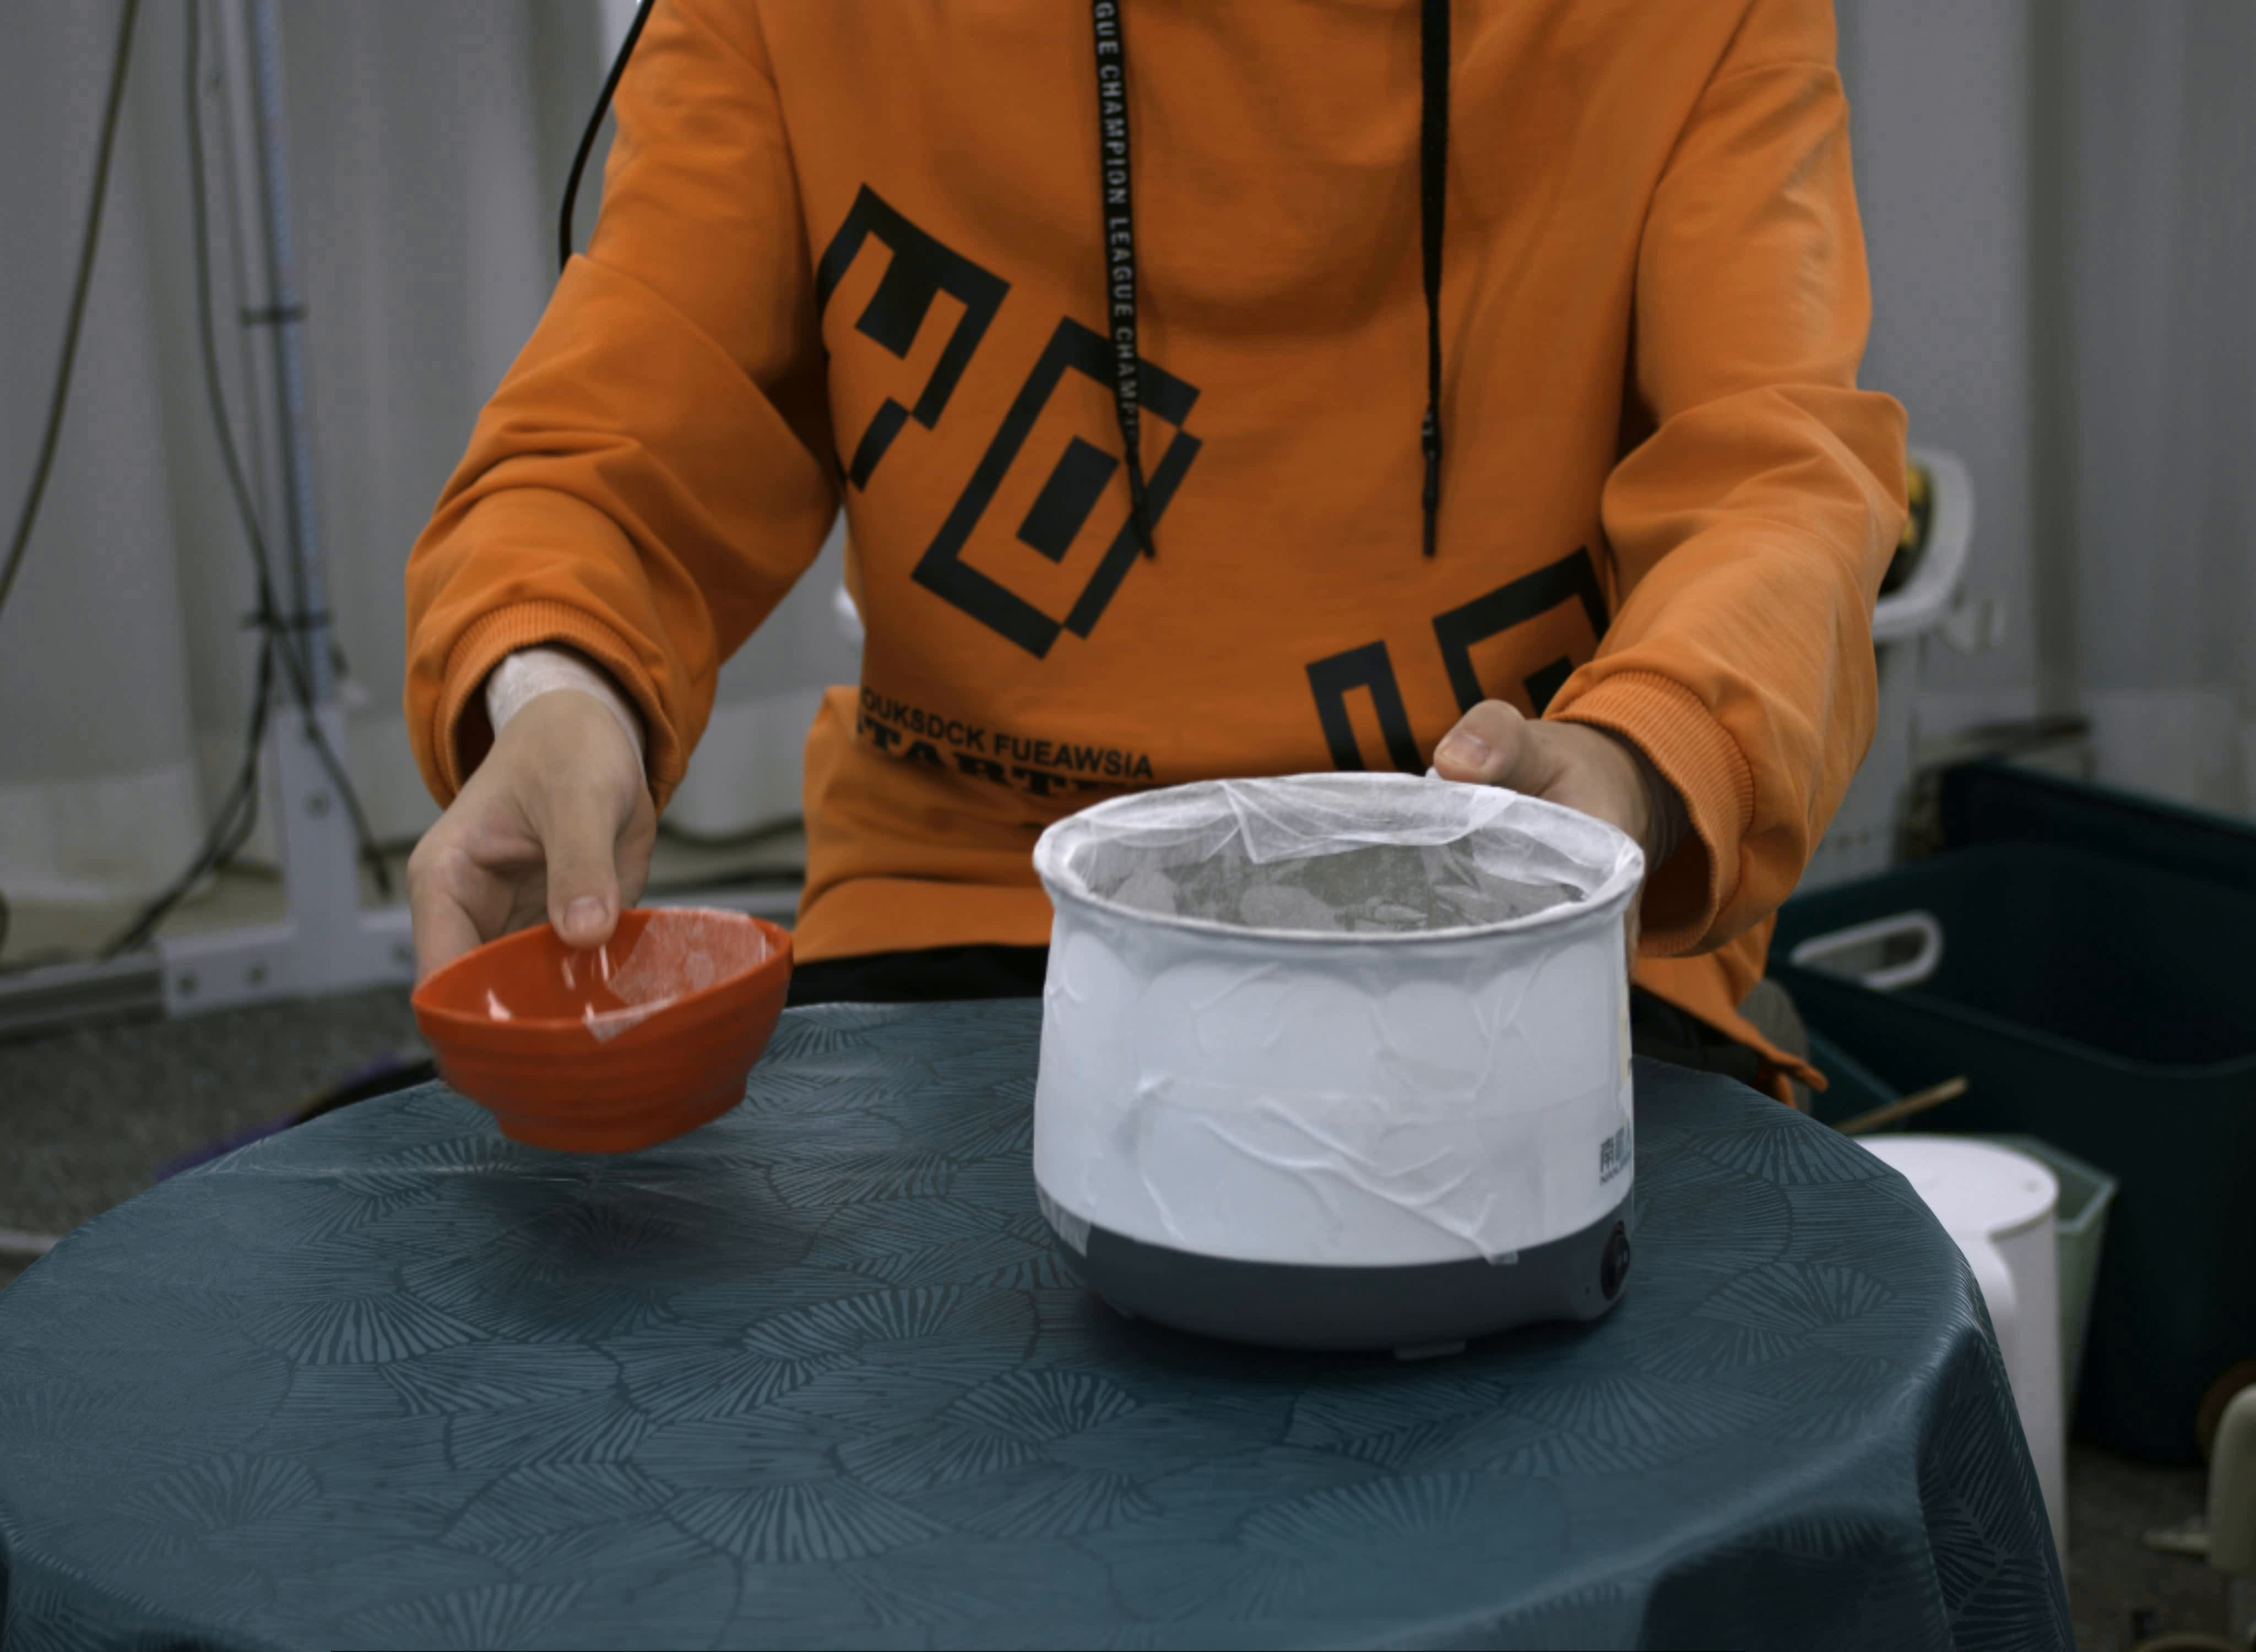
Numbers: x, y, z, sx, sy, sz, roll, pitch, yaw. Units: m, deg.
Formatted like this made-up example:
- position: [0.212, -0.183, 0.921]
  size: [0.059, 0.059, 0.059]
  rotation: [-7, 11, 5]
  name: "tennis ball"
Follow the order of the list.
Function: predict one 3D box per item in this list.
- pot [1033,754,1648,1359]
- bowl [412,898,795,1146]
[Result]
- position: [0.071, 0.061, 1.622]
  size: [0.179, 0.136, 0.234]
  rotation: [6, 16, 20]
  name: "pot"
- position: [-0.158, 0.063, 1.687]
  size: [0.118, 0.051, 0.120]
  rotation: [-8, 15, 2]
  name: "bowl"
